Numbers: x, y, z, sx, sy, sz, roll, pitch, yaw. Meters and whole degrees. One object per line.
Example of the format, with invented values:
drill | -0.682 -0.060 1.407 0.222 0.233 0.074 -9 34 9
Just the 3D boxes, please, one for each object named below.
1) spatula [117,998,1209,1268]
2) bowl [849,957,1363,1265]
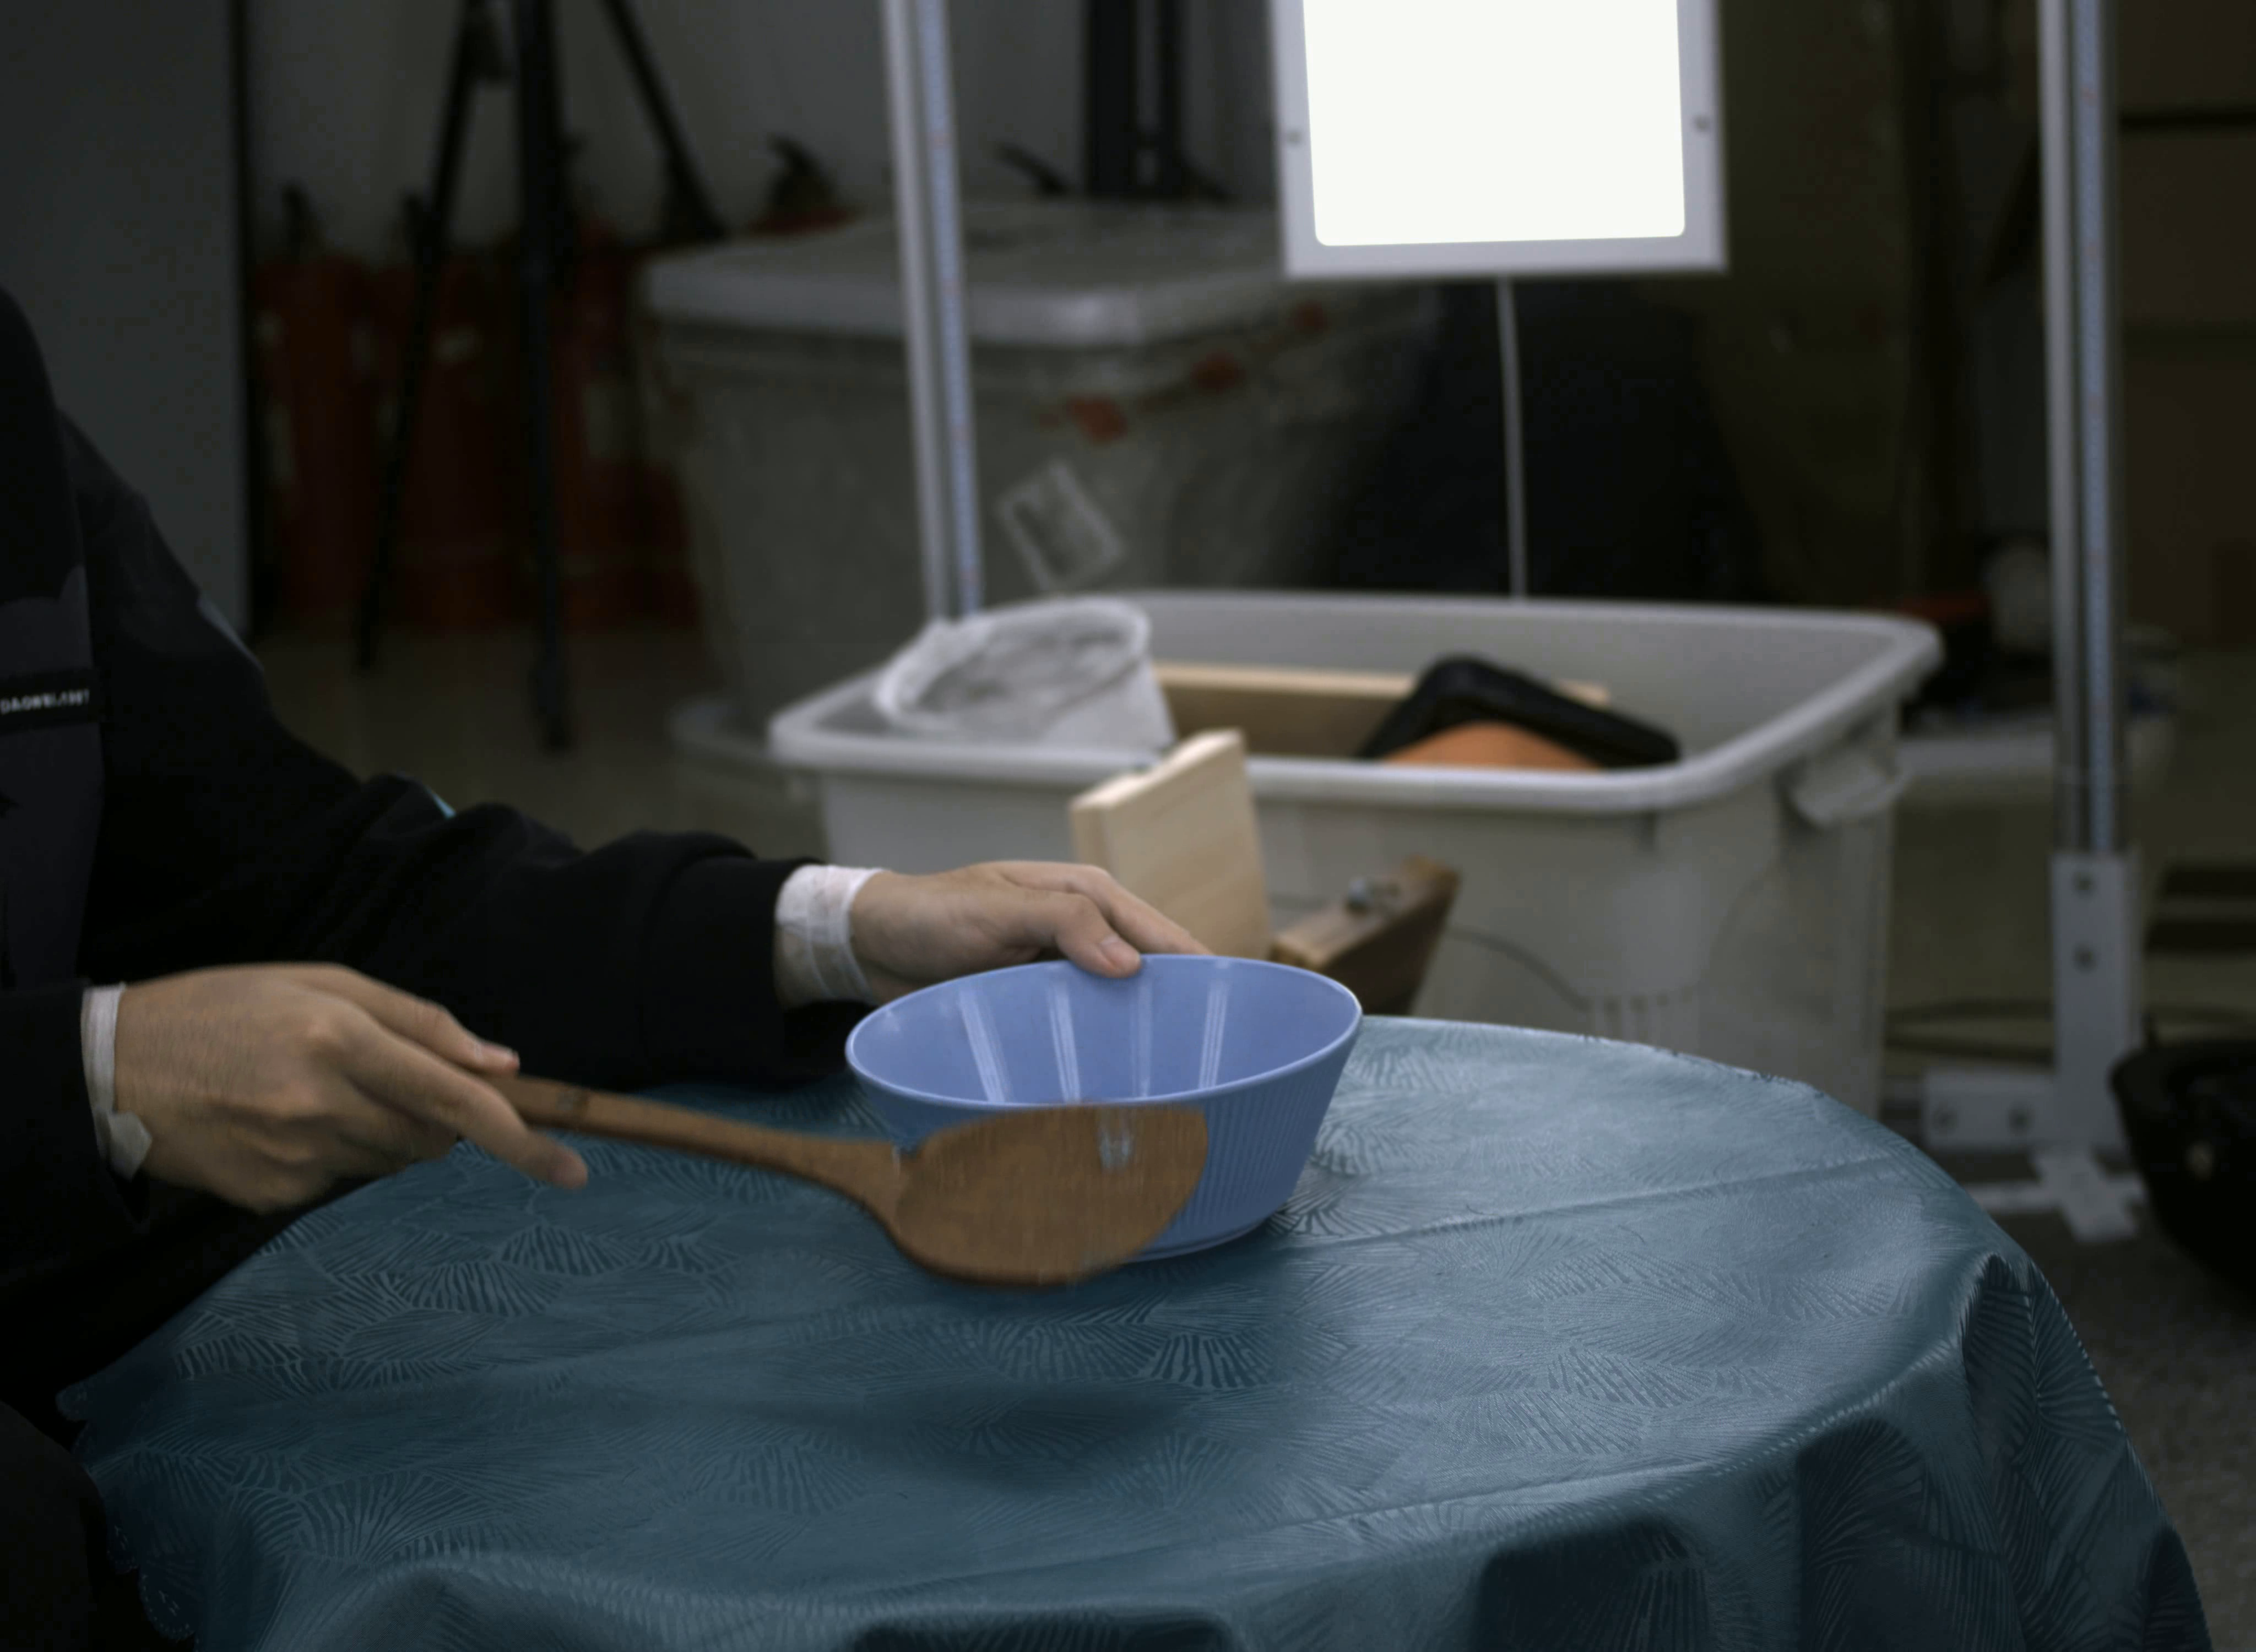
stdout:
spatula | -0.158 0.088 1.740 0.392 0.016 0.094 8 35 25
bowl | -0.005 0.099 1.864 0.175 0.070 0.176 -6 13 0
